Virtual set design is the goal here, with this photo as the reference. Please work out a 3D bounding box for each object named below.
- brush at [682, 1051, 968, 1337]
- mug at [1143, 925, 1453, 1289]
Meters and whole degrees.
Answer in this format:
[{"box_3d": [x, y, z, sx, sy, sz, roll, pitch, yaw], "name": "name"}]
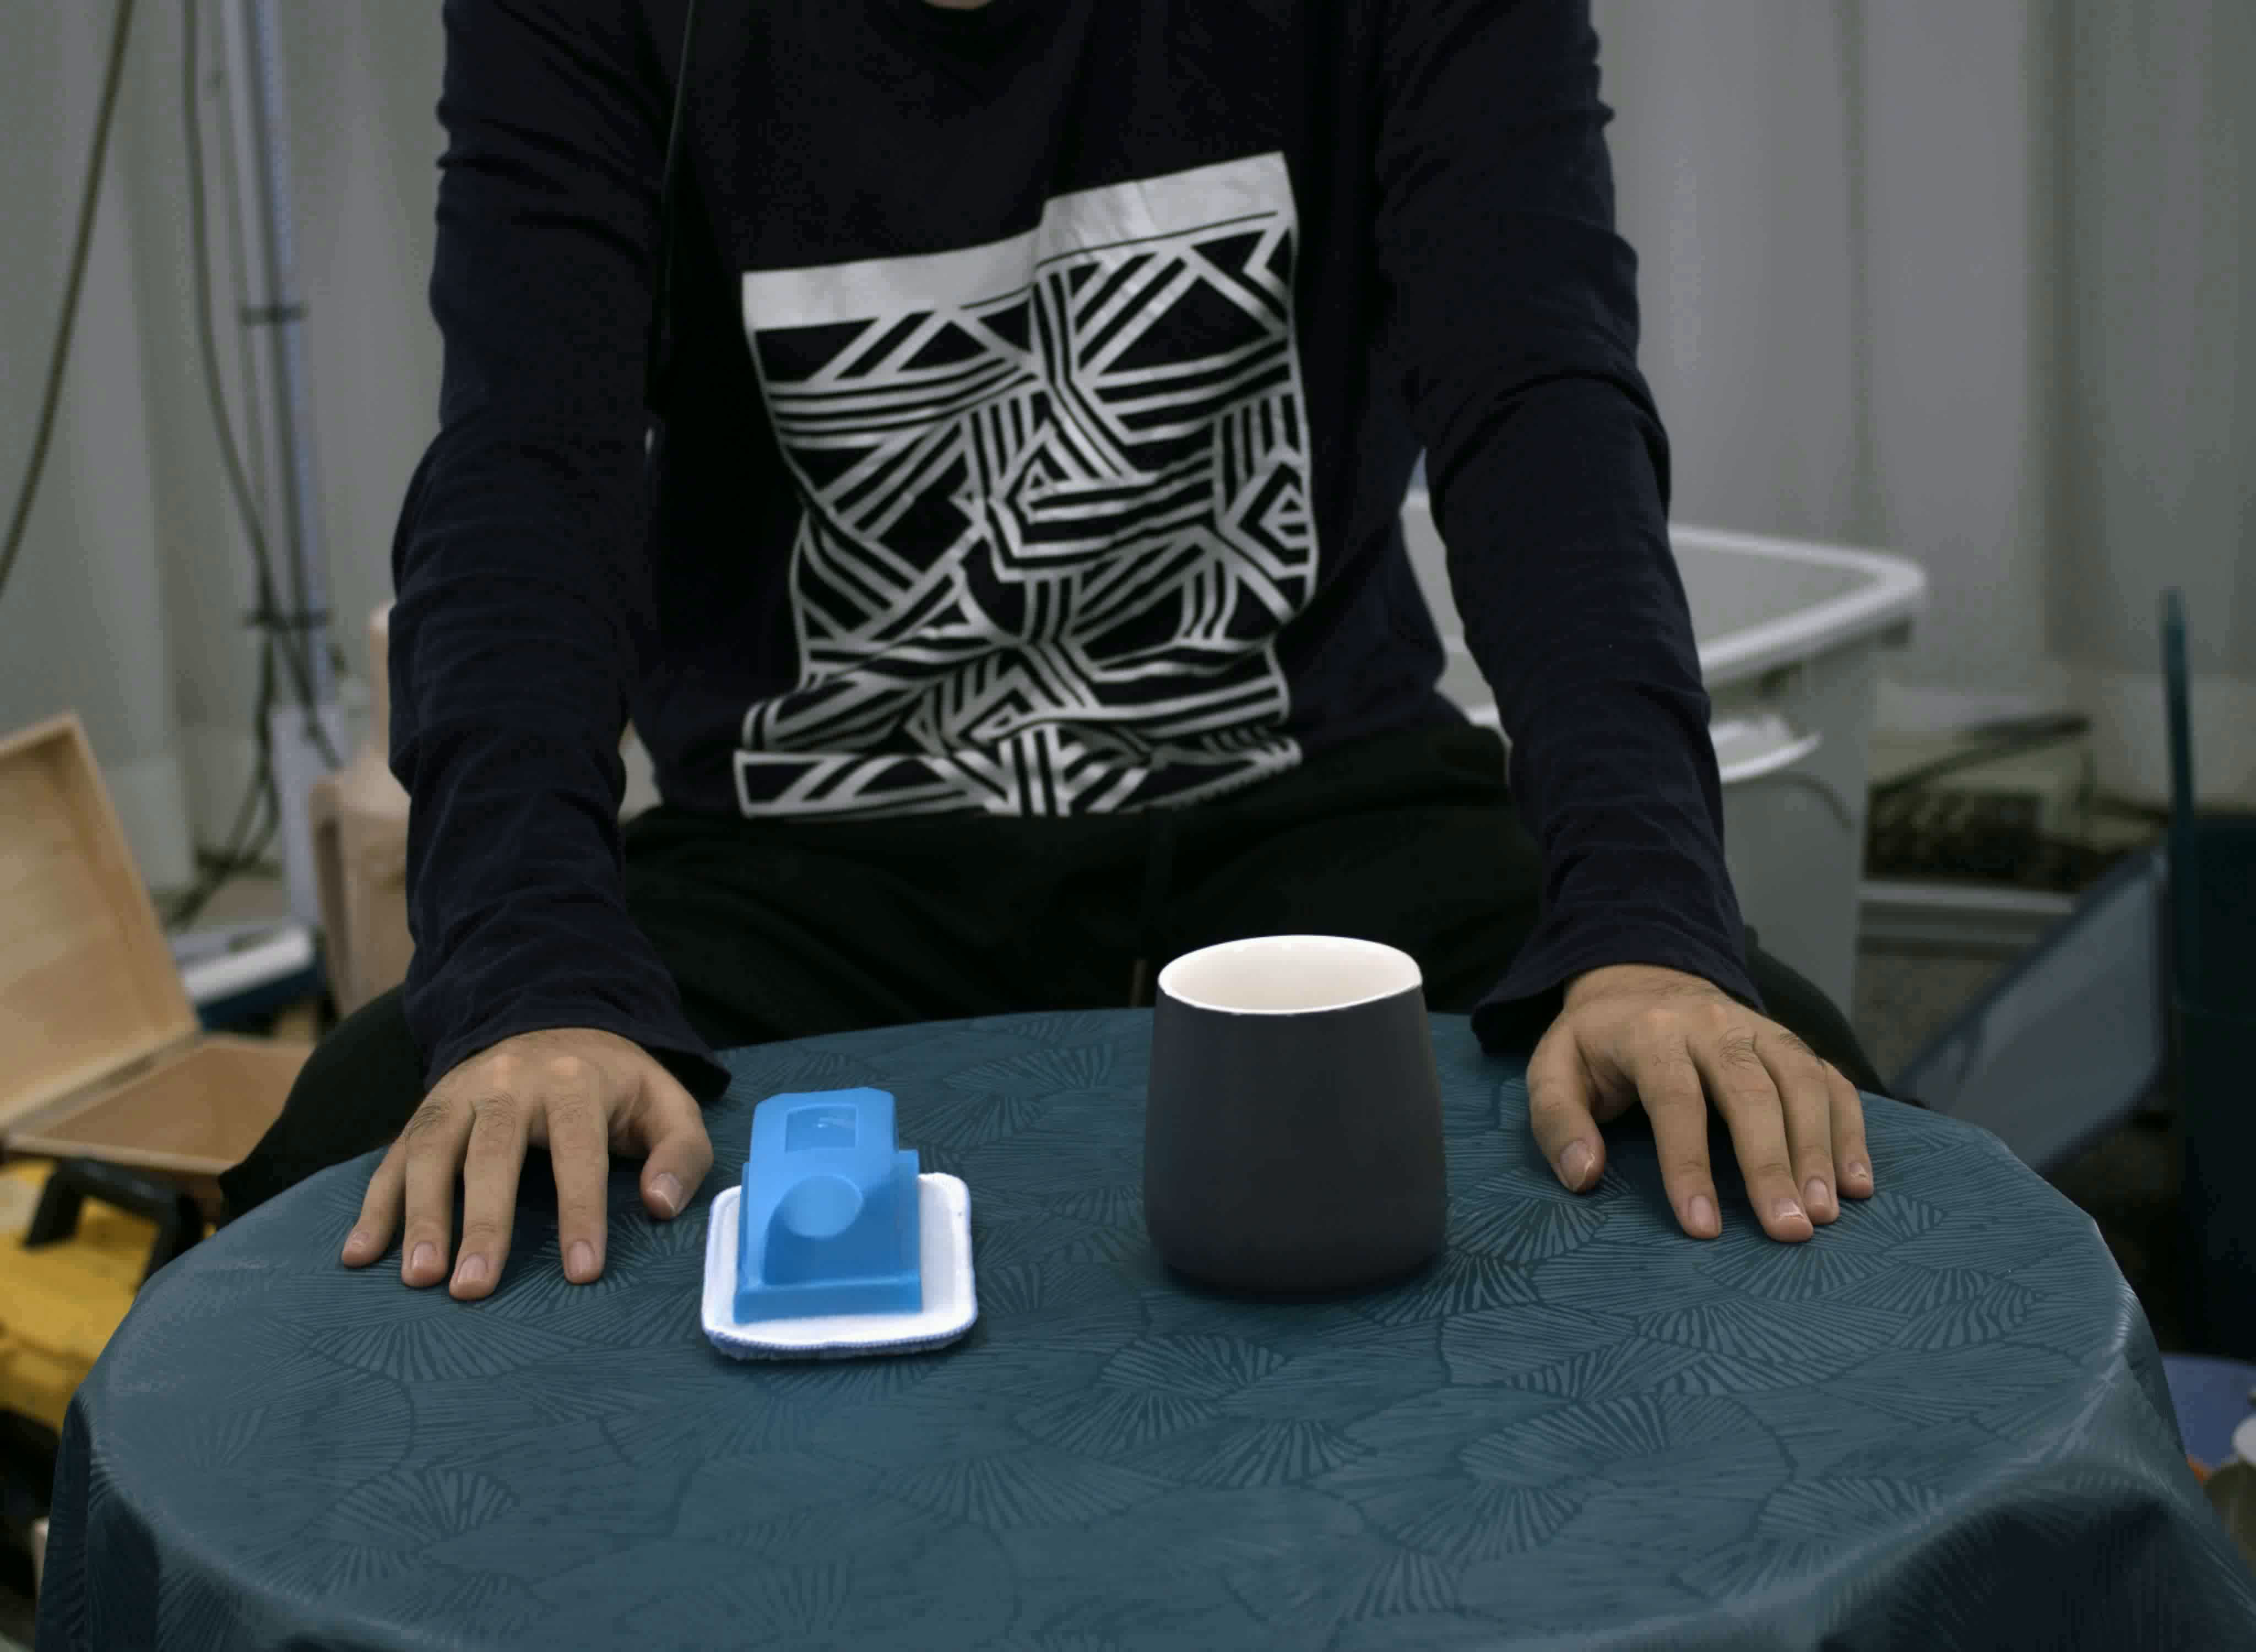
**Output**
[{"box_3d": [-0.090, 0.107, 1.643, 0.083, 0.055, 0.145, 0, 17, 0], "name": "brush"}, {"box_3d": [0.050, 0.080, 1.651, 0.093, 0.089, 0.124, -1, 16, -2], "name": "mug"}]
